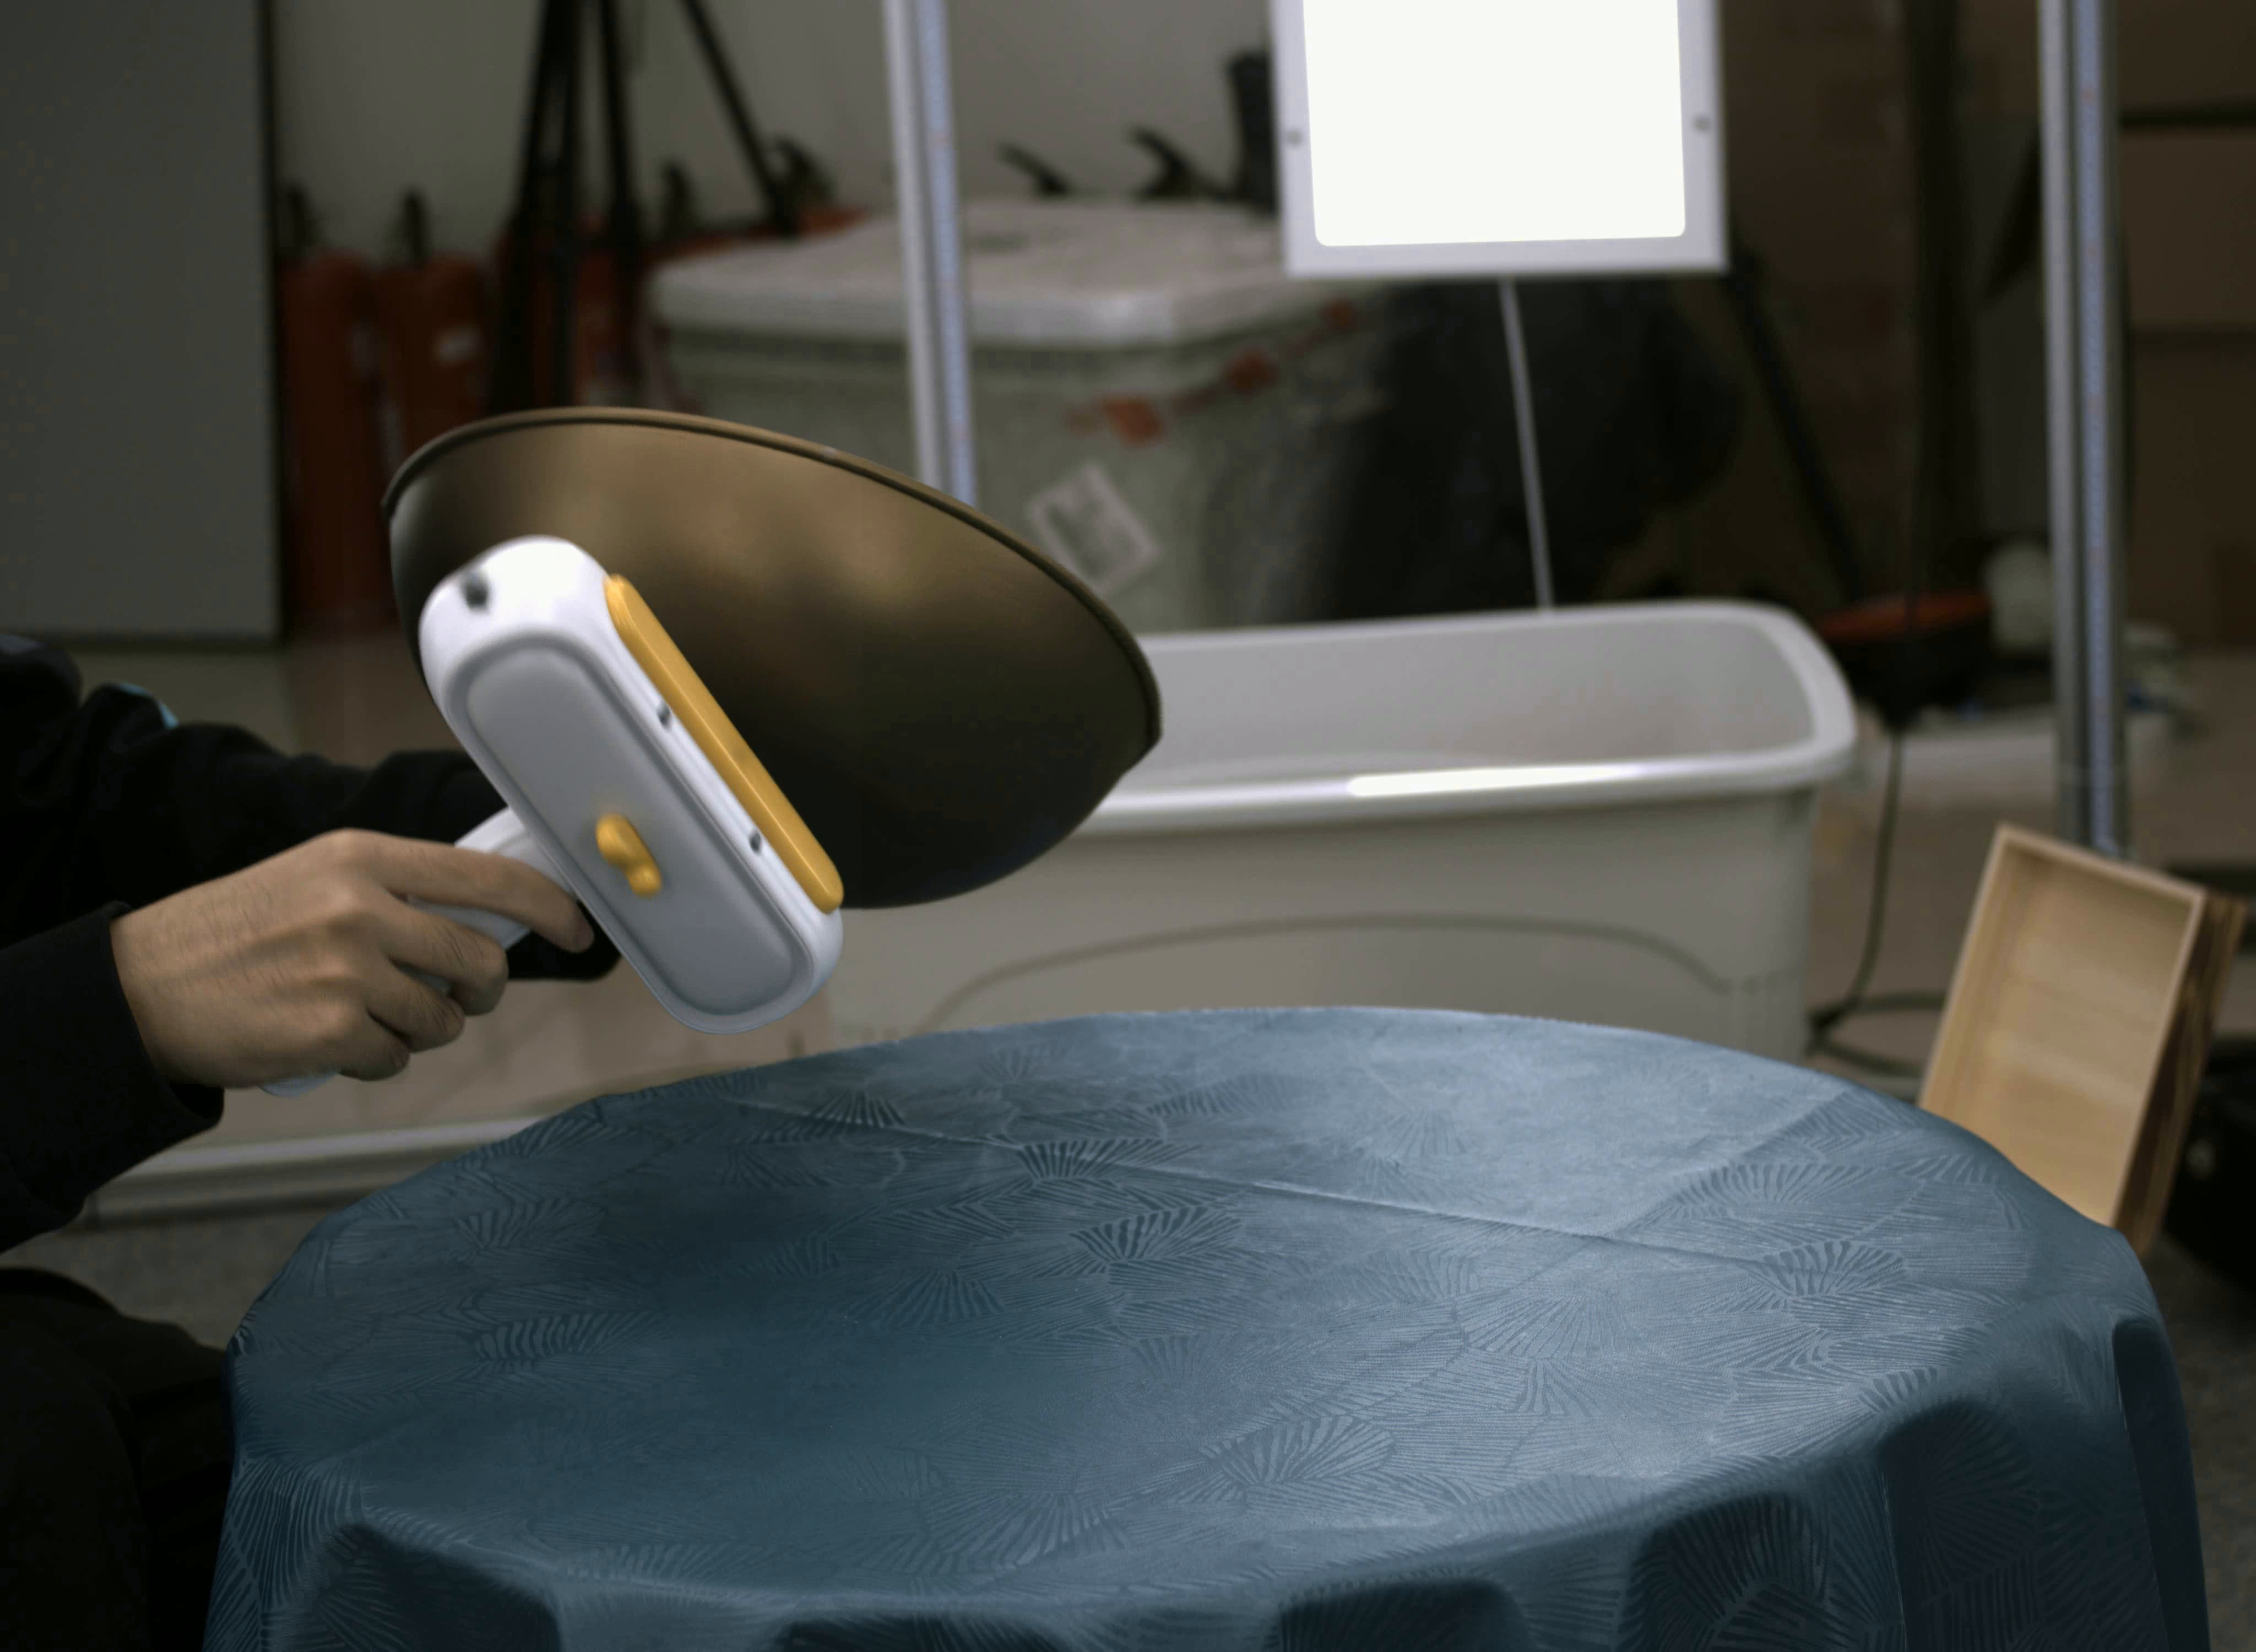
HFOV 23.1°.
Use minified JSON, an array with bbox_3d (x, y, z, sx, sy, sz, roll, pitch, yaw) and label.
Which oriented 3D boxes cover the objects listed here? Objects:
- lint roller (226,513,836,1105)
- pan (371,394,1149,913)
[{"bbox_3d":[-0.211,0.018,1.786,0.194,0.191,0.074,-33,32,10],"label":"lint roller"},{"bbox_3d":[-0.150,-0.006,2.023,0.288,0.086,0.467,17,-24,1],"label":"pan"}]
